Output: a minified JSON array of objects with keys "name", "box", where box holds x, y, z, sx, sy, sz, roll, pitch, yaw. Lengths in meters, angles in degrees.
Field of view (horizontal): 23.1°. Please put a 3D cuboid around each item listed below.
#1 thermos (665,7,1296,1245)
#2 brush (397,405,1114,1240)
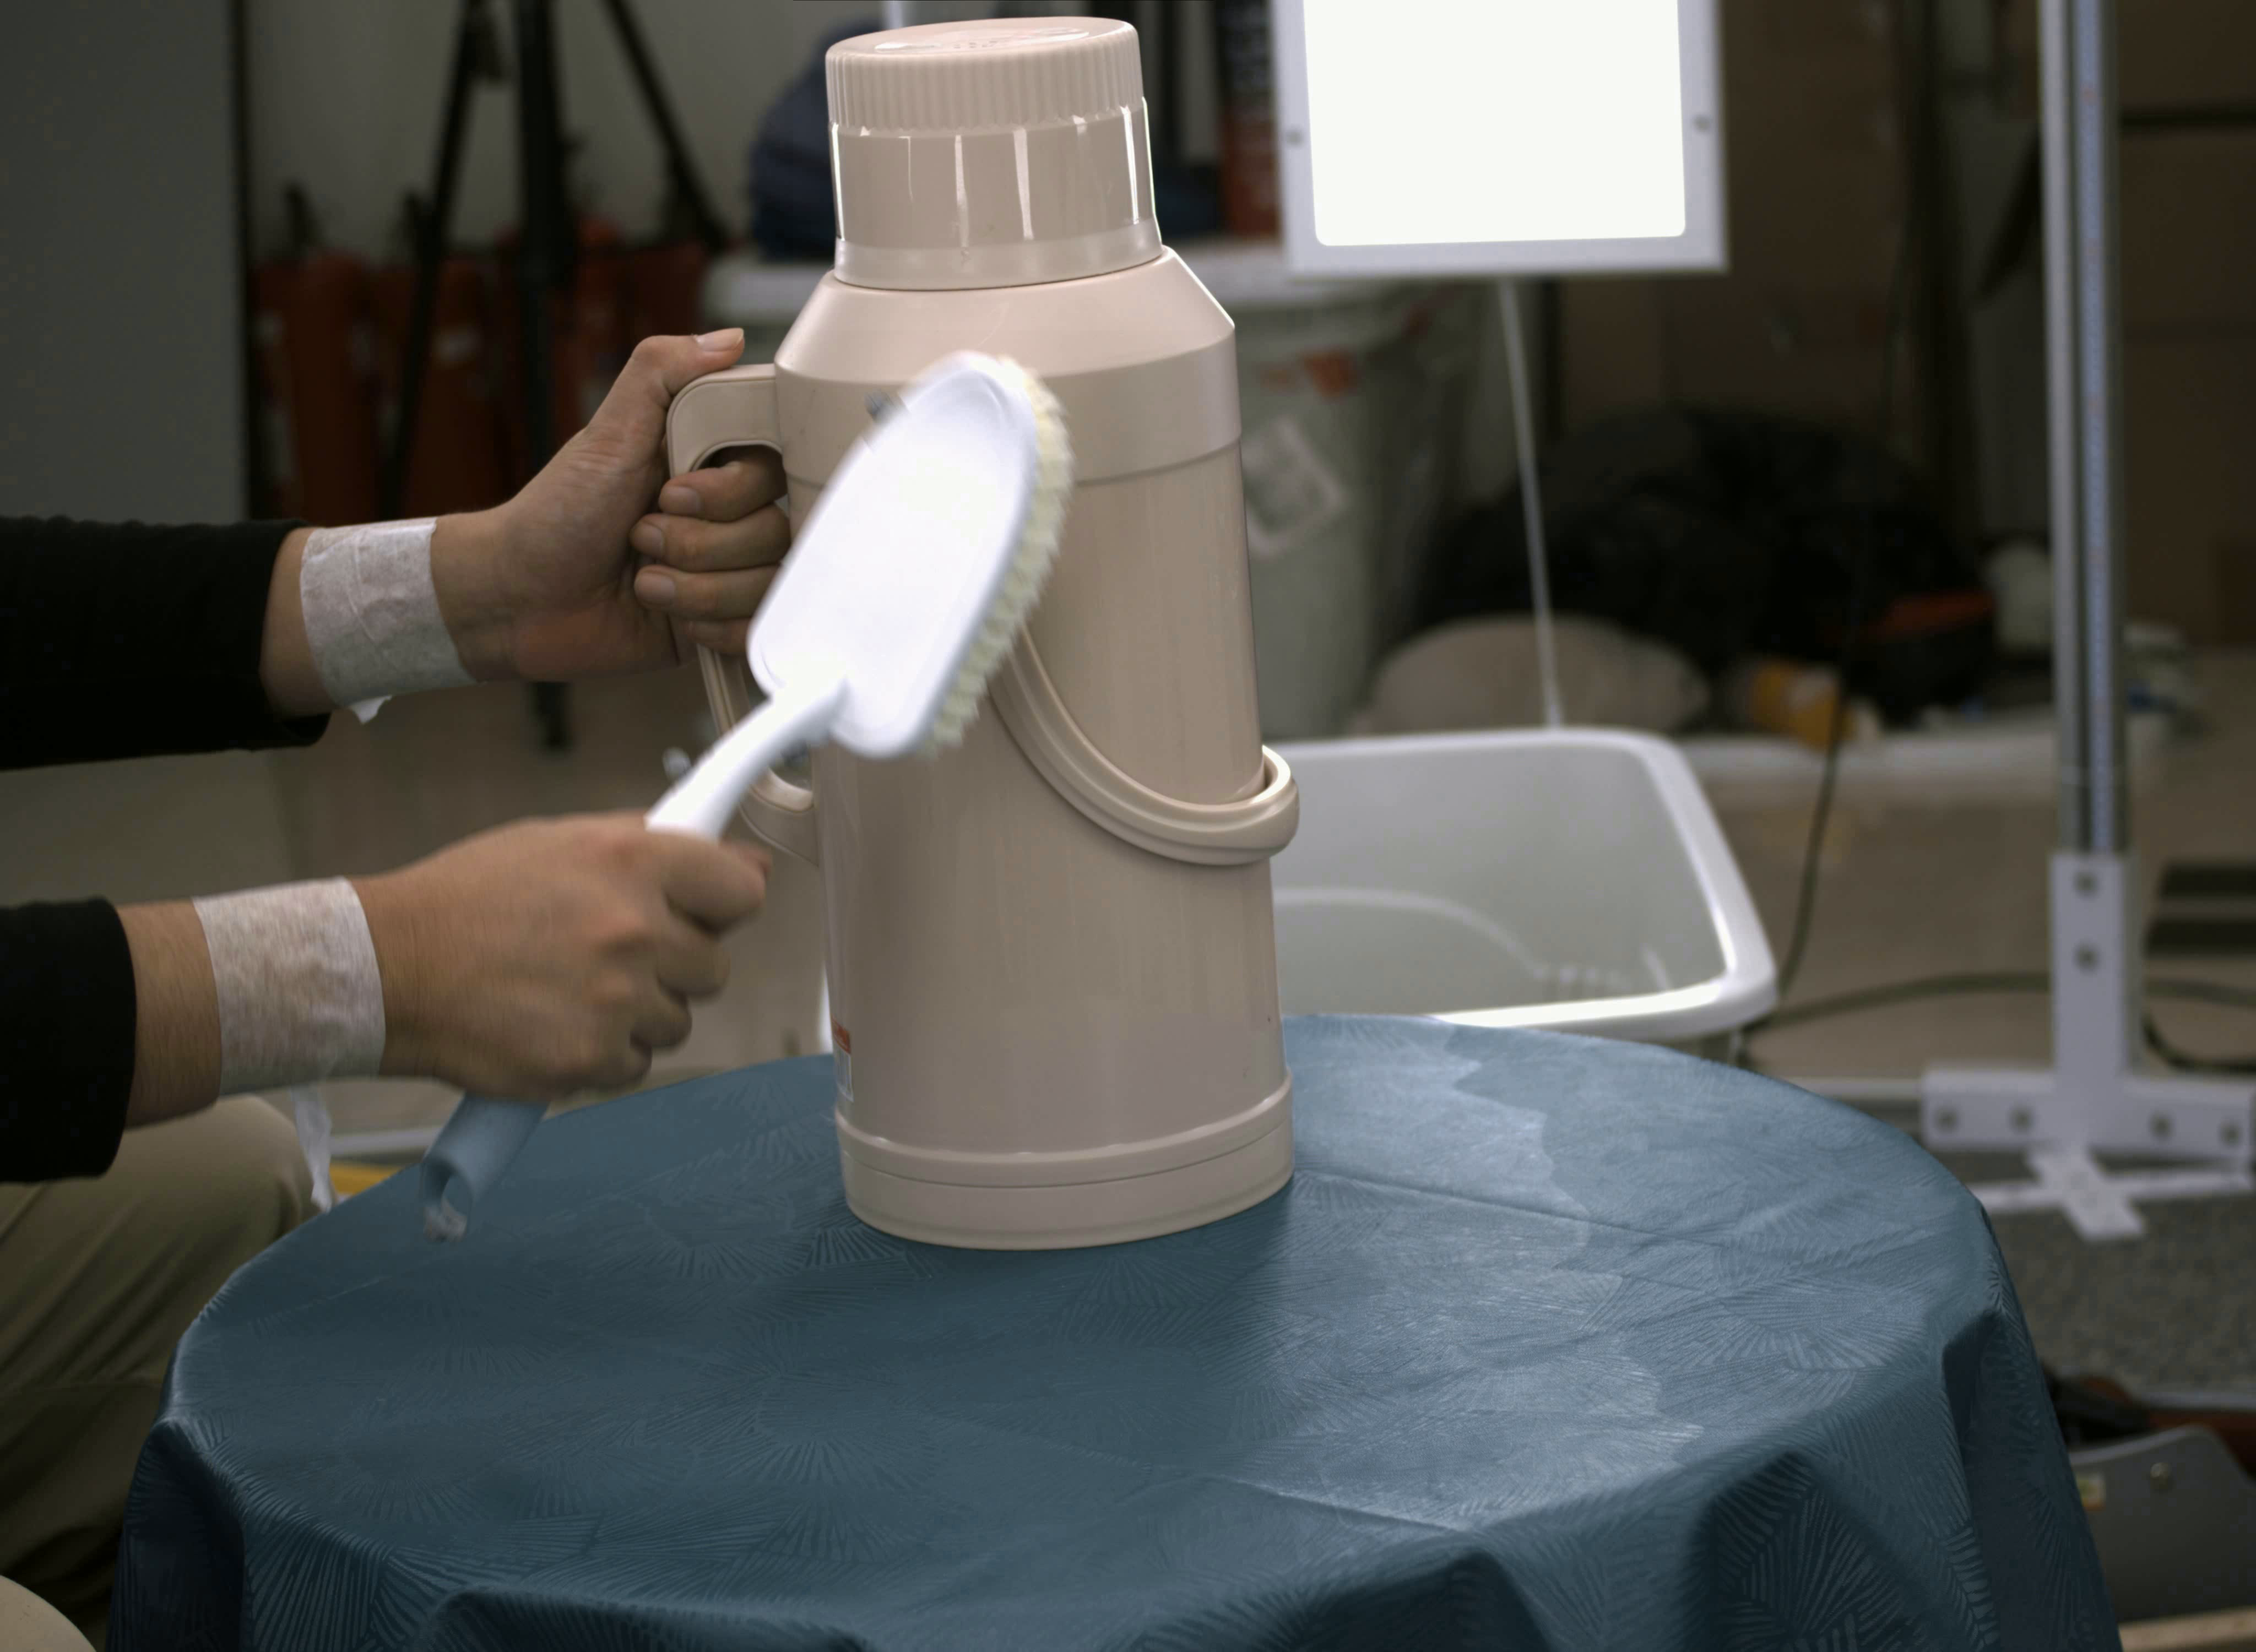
[{"name":"thermos","box":[-0.049,-0.069,1.879,0.208,0.408,0.173,-1,16,11]},{"name":"brush","box":[-0.115,0.002,1.732,0.083,0.326,0.084,37,2,-29]}]
